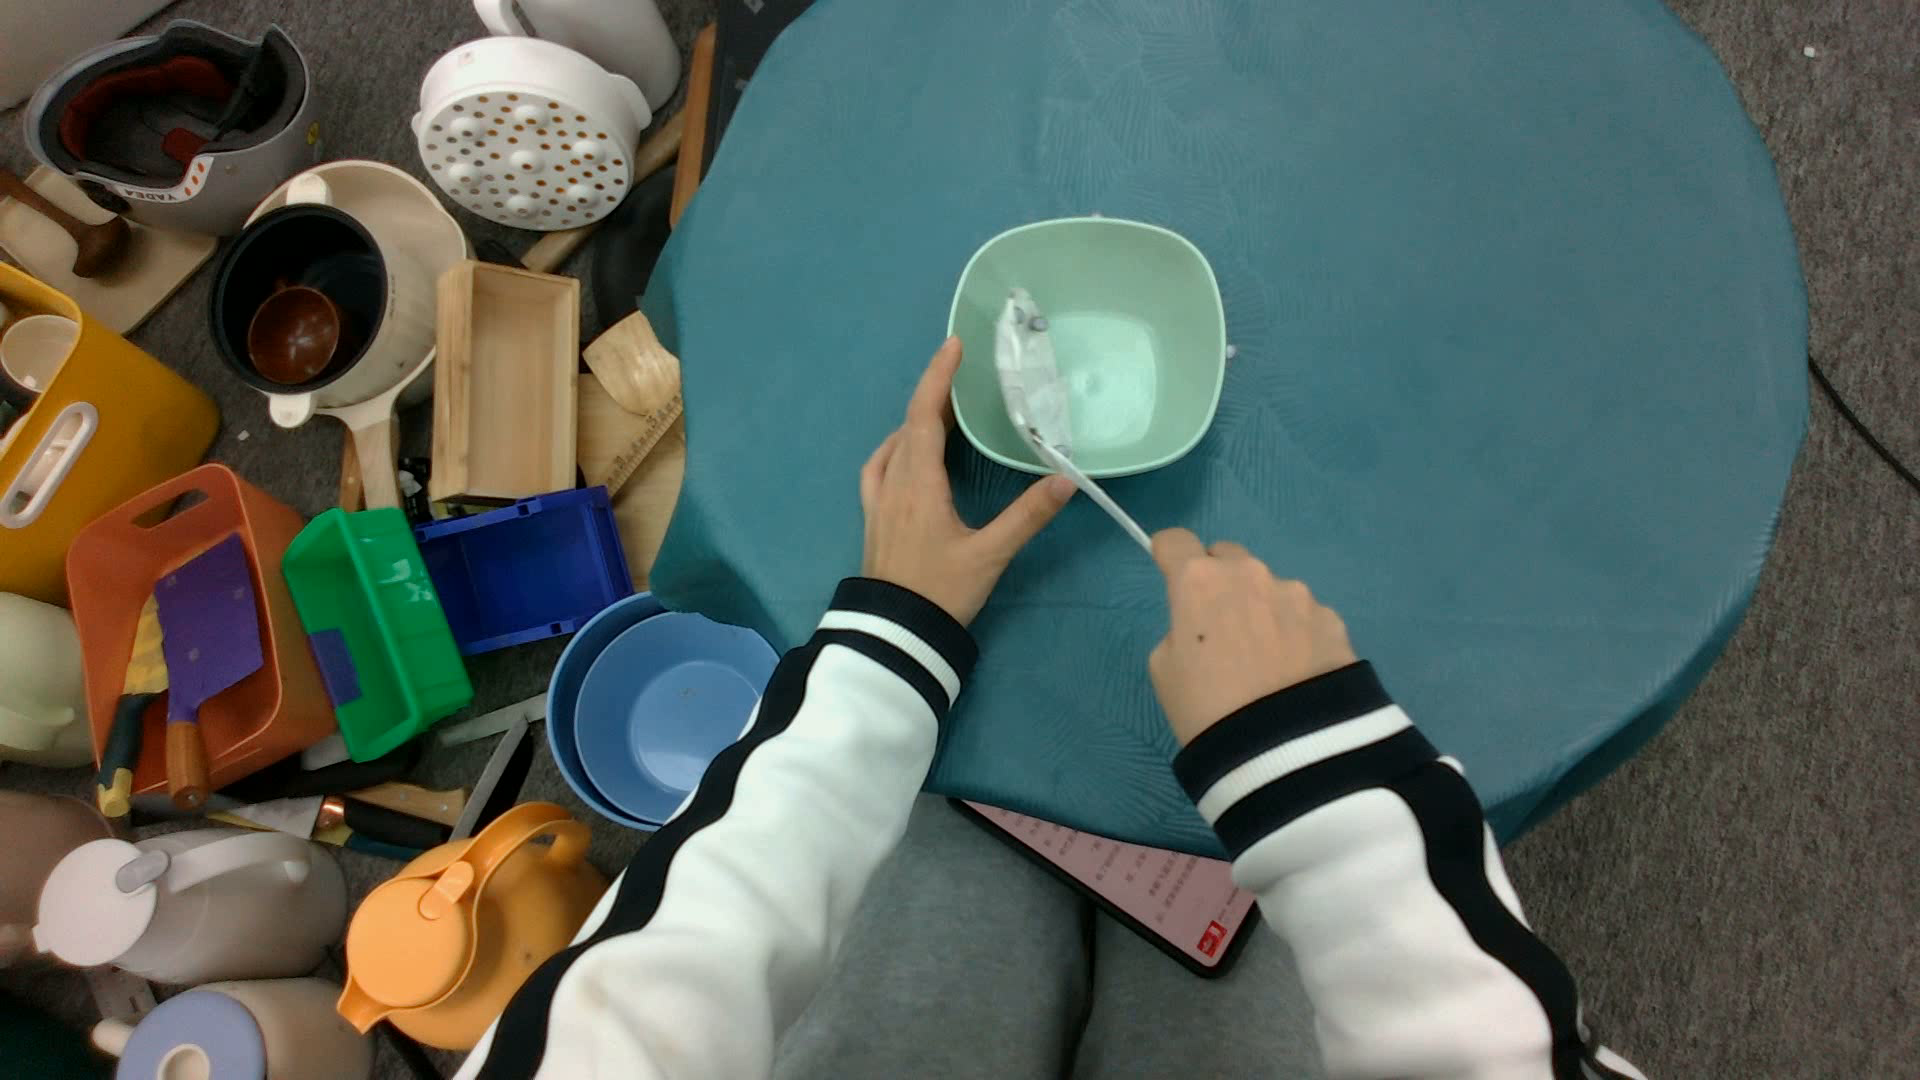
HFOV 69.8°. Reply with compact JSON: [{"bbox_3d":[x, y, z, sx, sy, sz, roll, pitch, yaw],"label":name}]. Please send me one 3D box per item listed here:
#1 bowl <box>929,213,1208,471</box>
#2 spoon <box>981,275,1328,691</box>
[{"bbox_3d":[0.056,-0.094,0.711,0.151,0.058,0.152,-1,73,4],"label":"bowl"},{"bbox_3d":[0.084,-0.036,0.612,0.059,0.100,0.278,-43,46,-2],"label":"spoon"}]
